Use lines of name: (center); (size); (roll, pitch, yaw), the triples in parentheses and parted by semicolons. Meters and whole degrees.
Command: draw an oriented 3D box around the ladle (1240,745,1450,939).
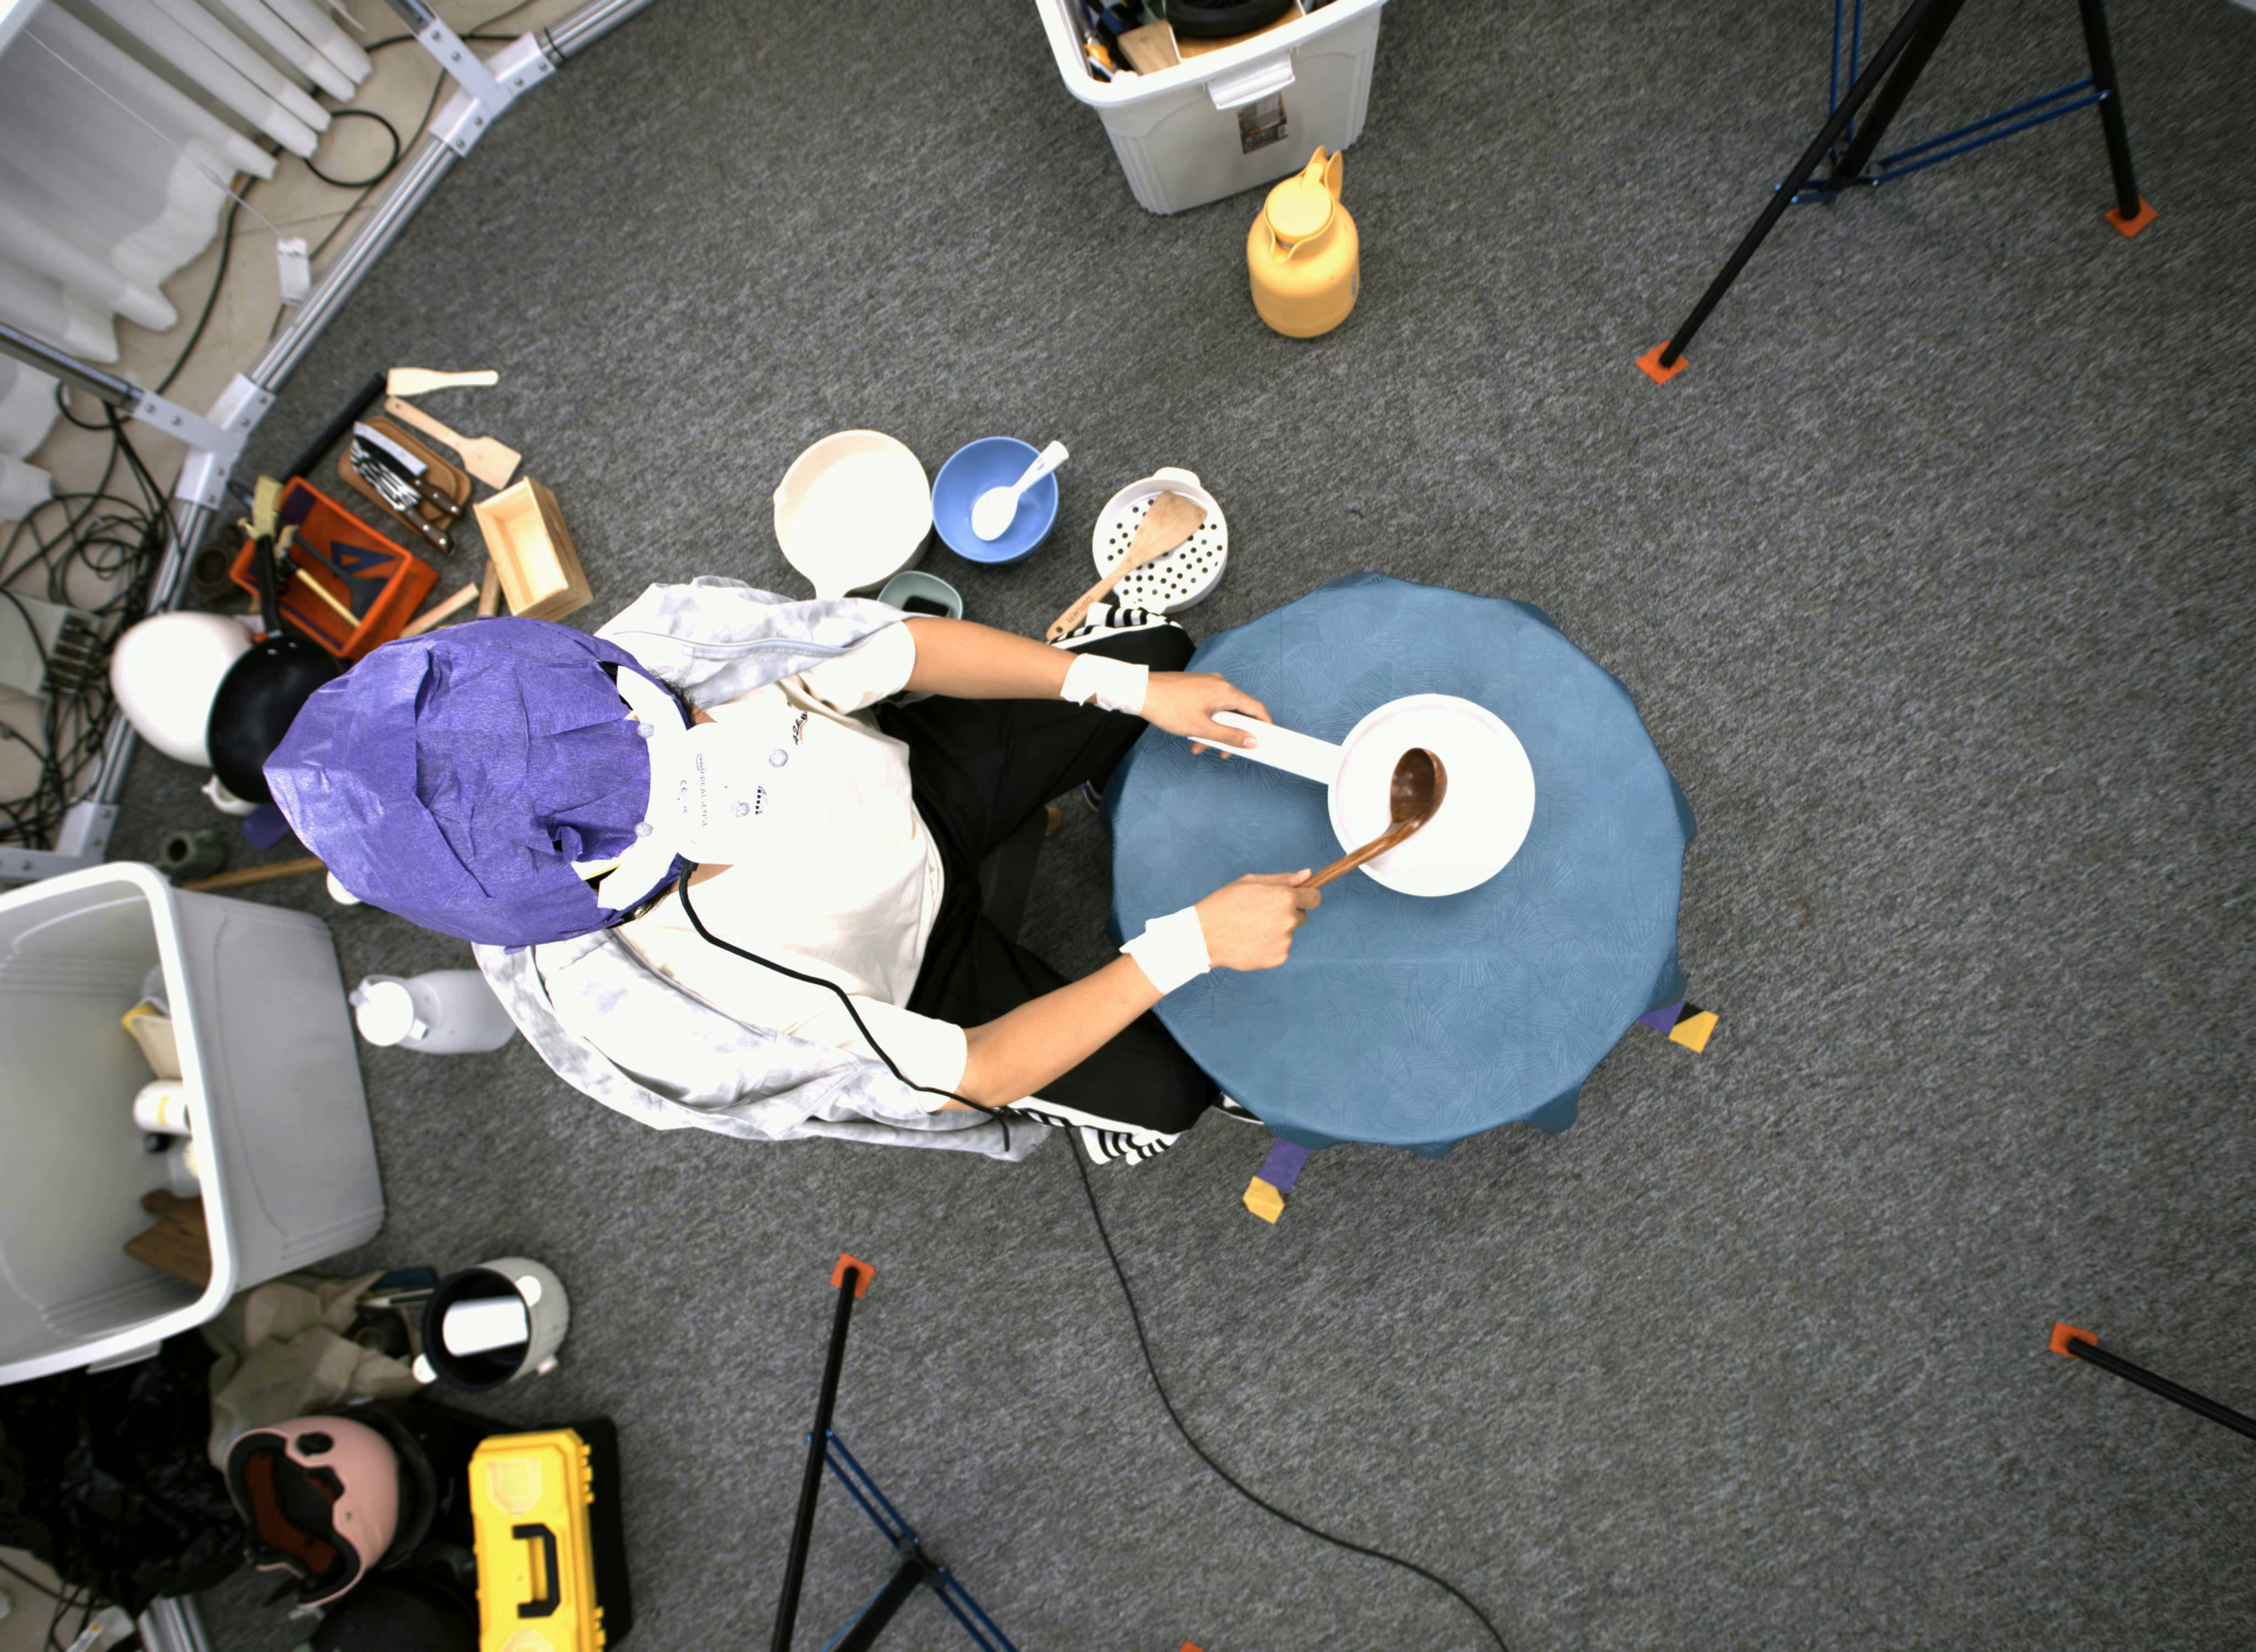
ladle: (0.206, 0.009, 1.344); (0.271, 0.083, 0.076); (-30, 85, -16)

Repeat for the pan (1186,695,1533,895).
pan: (0.236, -0.053, 1.423); (0.355, 0.102, 0.201); (19, 91, 13)
